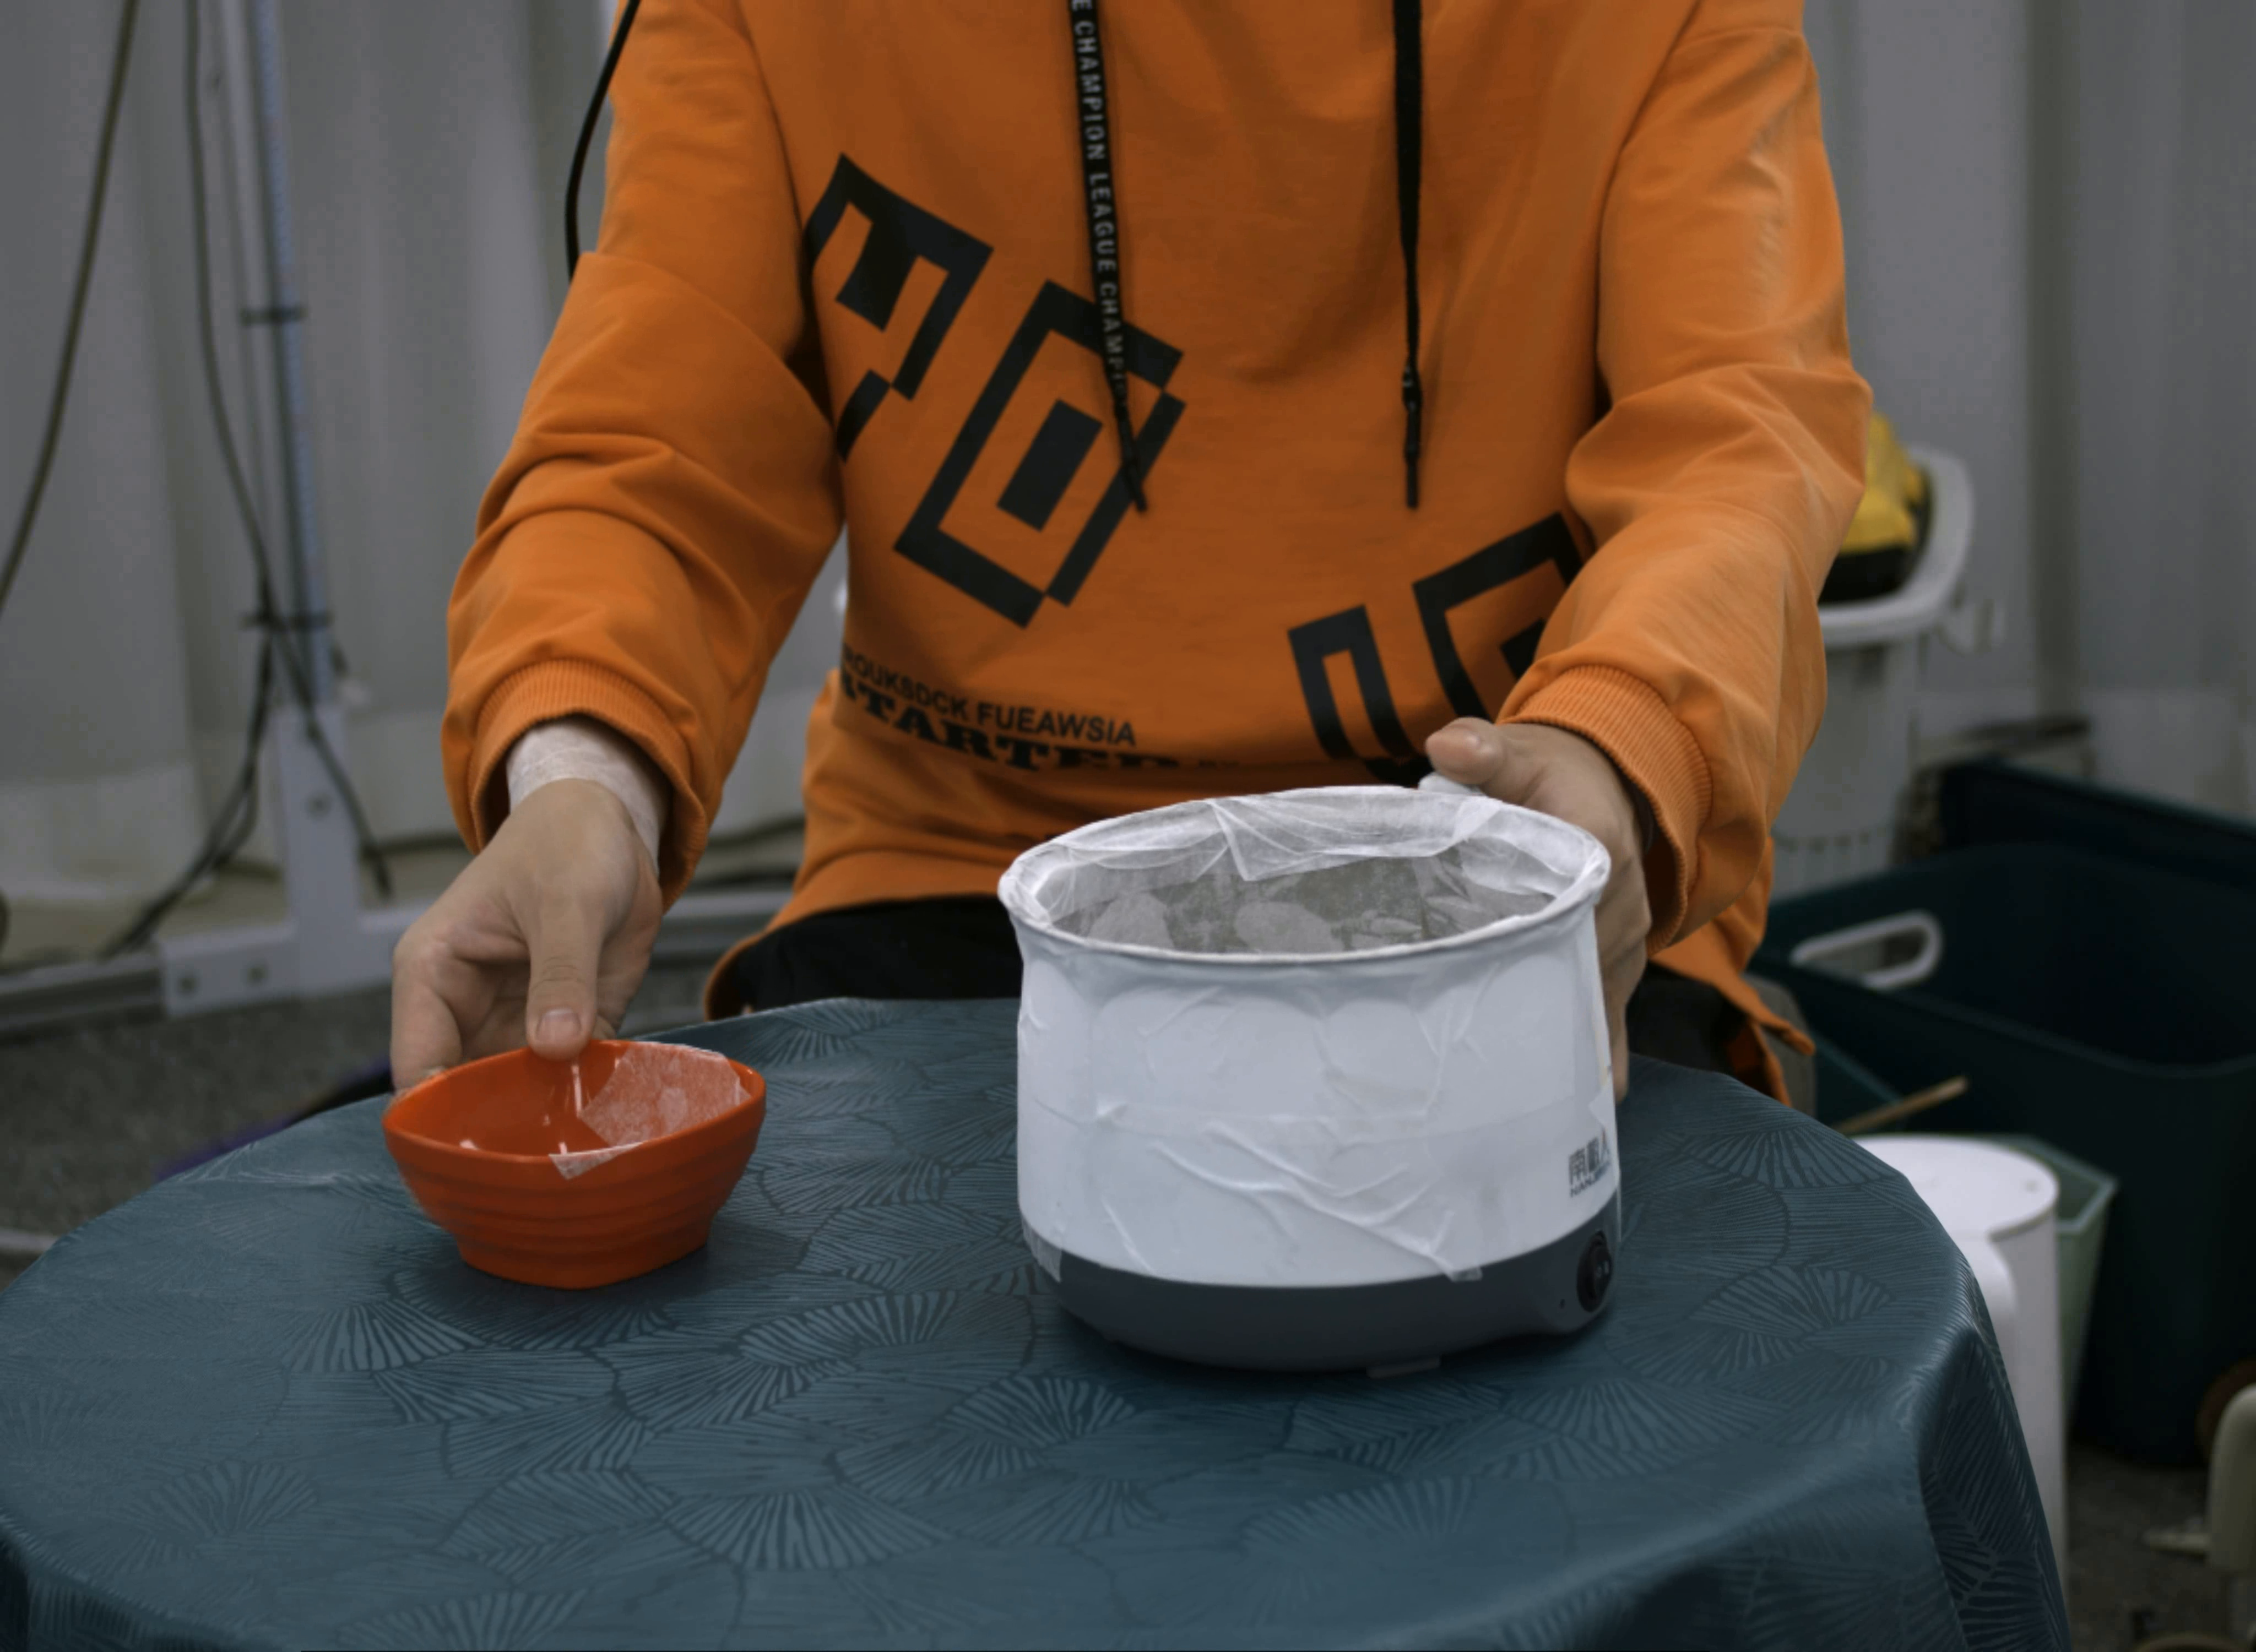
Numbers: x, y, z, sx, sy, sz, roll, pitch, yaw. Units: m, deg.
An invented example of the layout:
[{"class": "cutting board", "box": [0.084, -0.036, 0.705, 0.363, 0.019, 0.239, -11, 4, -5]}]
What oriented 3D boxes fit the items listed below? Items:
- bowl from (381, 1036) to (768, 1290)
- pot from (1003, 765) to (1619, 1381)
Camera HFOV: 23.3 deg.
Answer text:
[{"class": "bowl", "box": [-0.168, 0.106, 1.683, 0.118, 0.051, 0.120, -4, 15, 1]}, {"class": "pot", "box": [0.066, 0.066, 1.618, 0.179, 0.136, 0.234, 5, 17, 25]}]
